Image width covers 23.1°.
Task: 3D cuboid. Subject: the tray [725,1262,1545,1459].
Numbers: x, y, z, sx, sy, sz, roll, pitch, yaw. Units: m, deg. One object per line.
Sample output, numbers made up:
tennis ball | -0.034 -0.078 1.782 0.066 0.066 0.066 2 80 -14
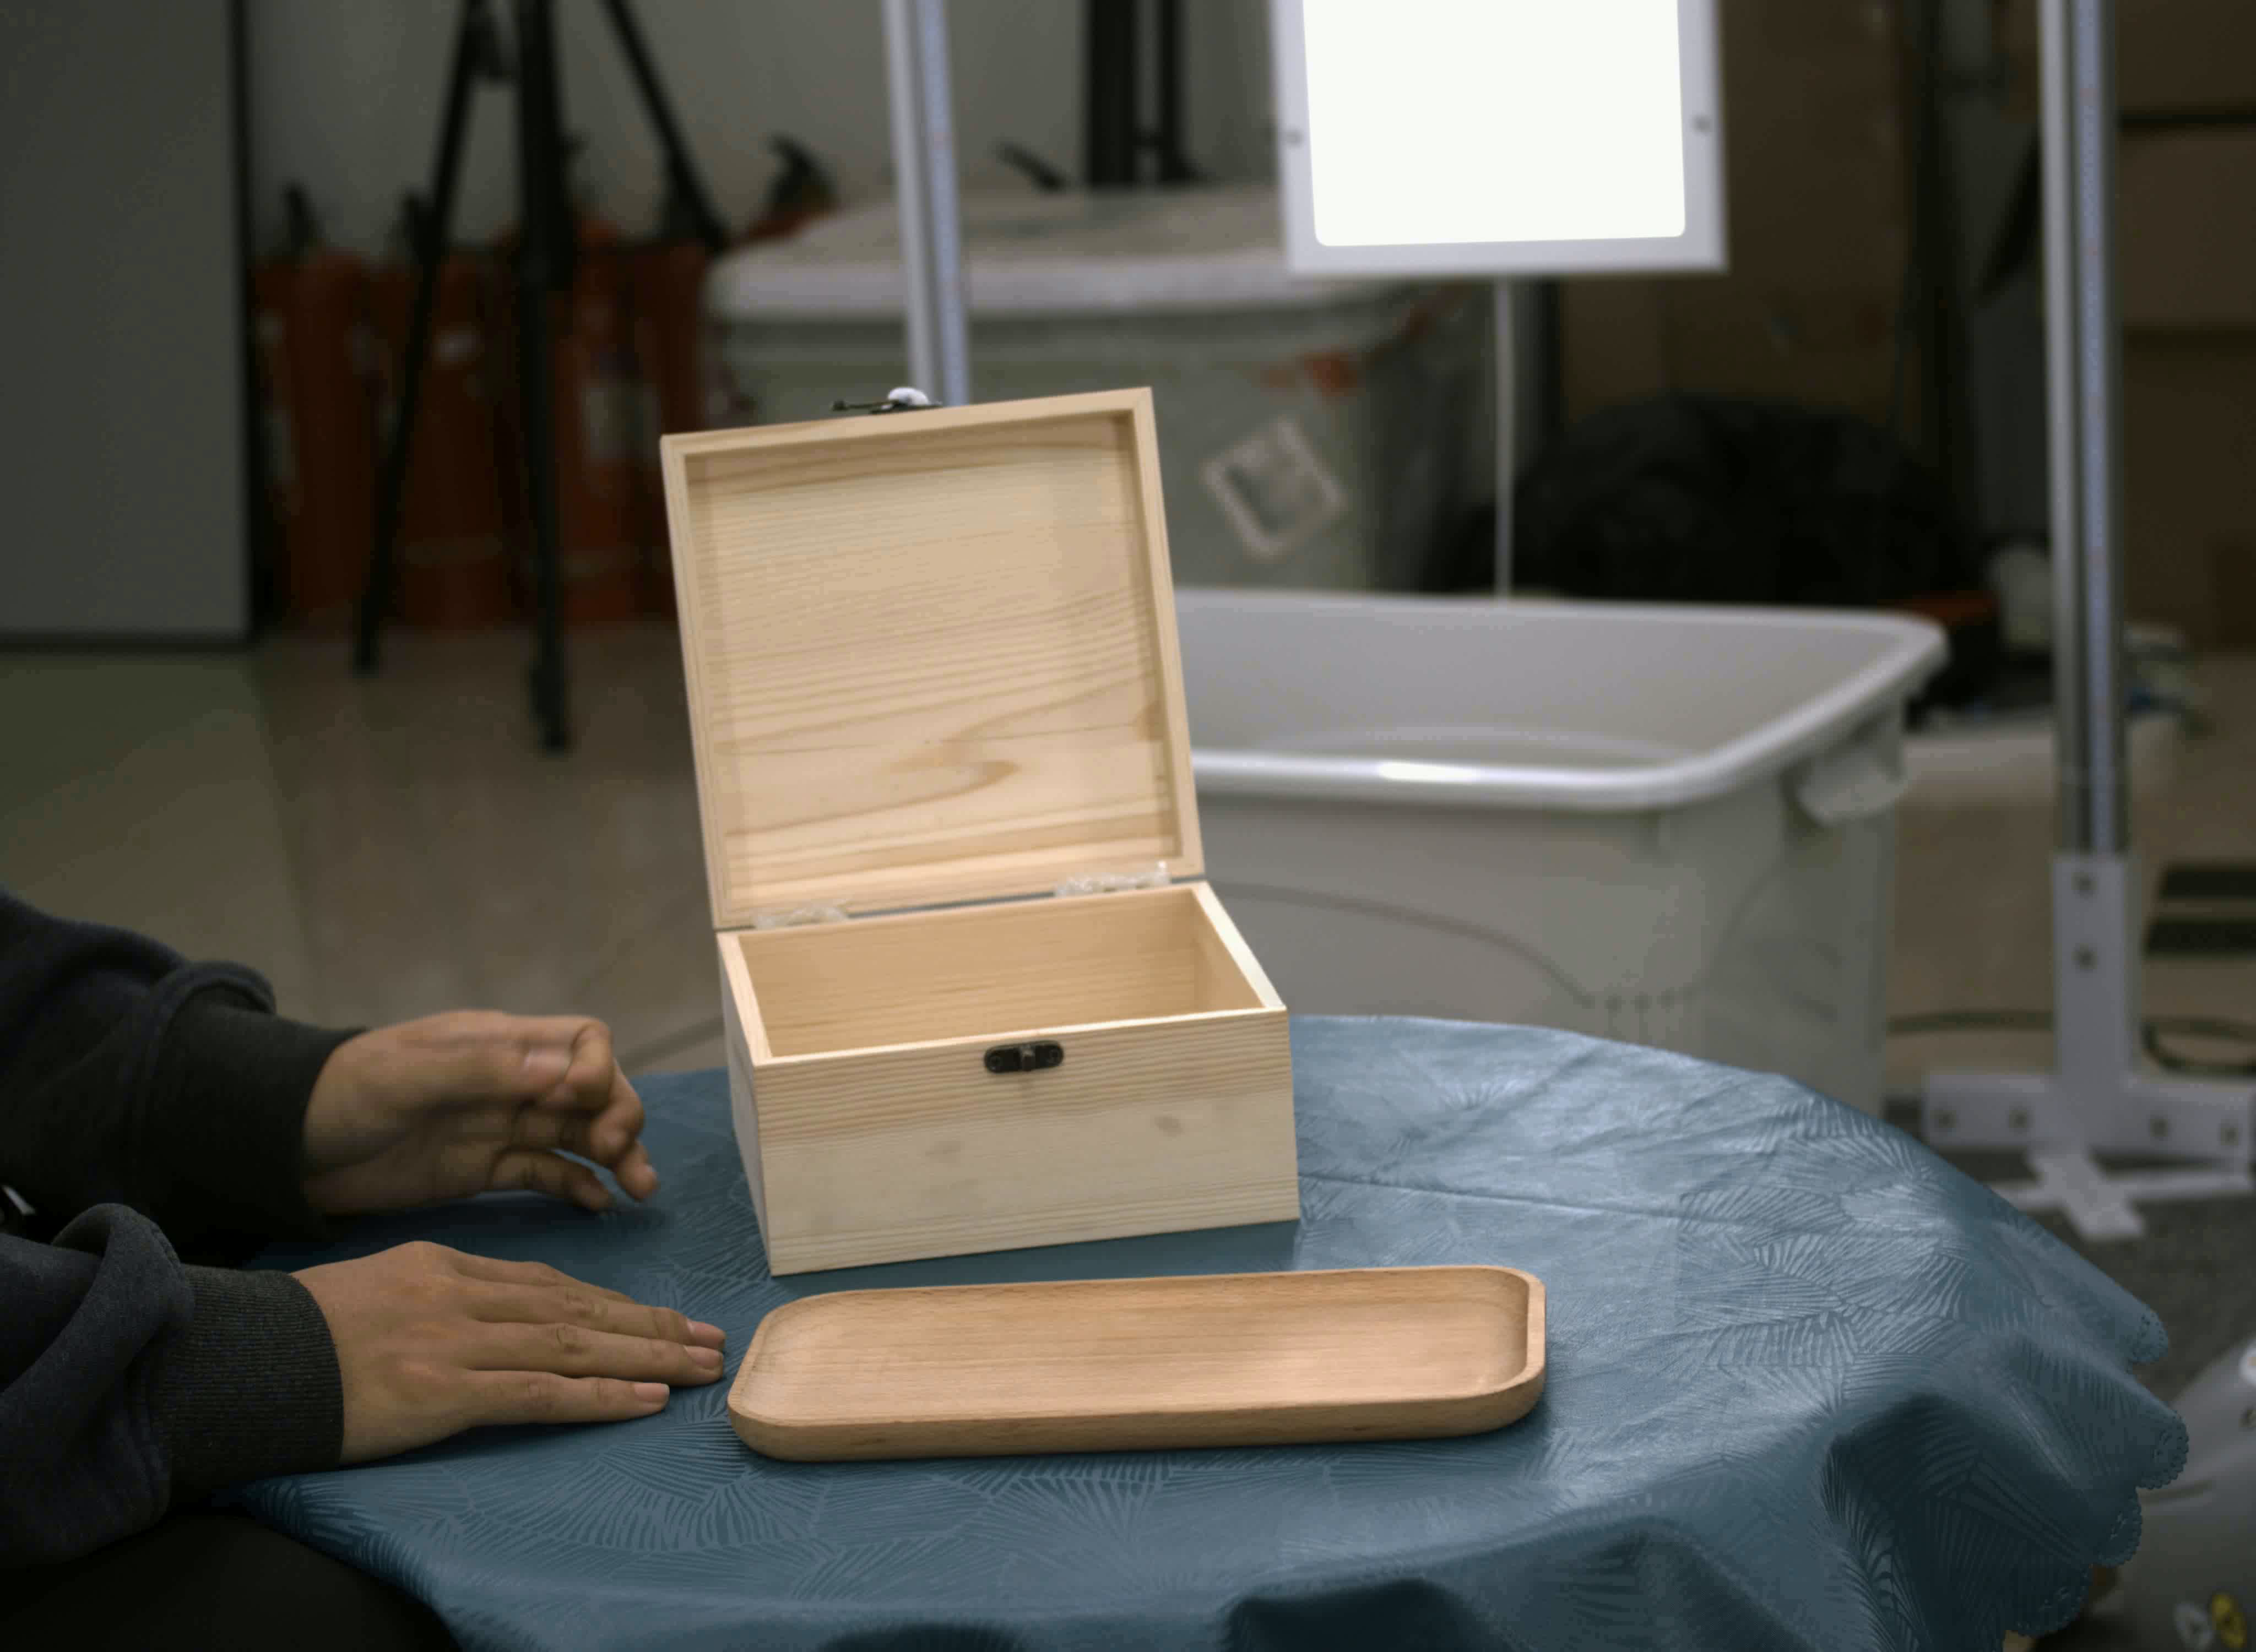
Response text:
tray | 0.004 0.165 1.701 0.252 0.023 0.129 -3 11 8

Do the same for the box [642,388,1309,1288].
box | -0.058 -0.004 1.936 0.180 0.254 0.266 -9 13 -6
